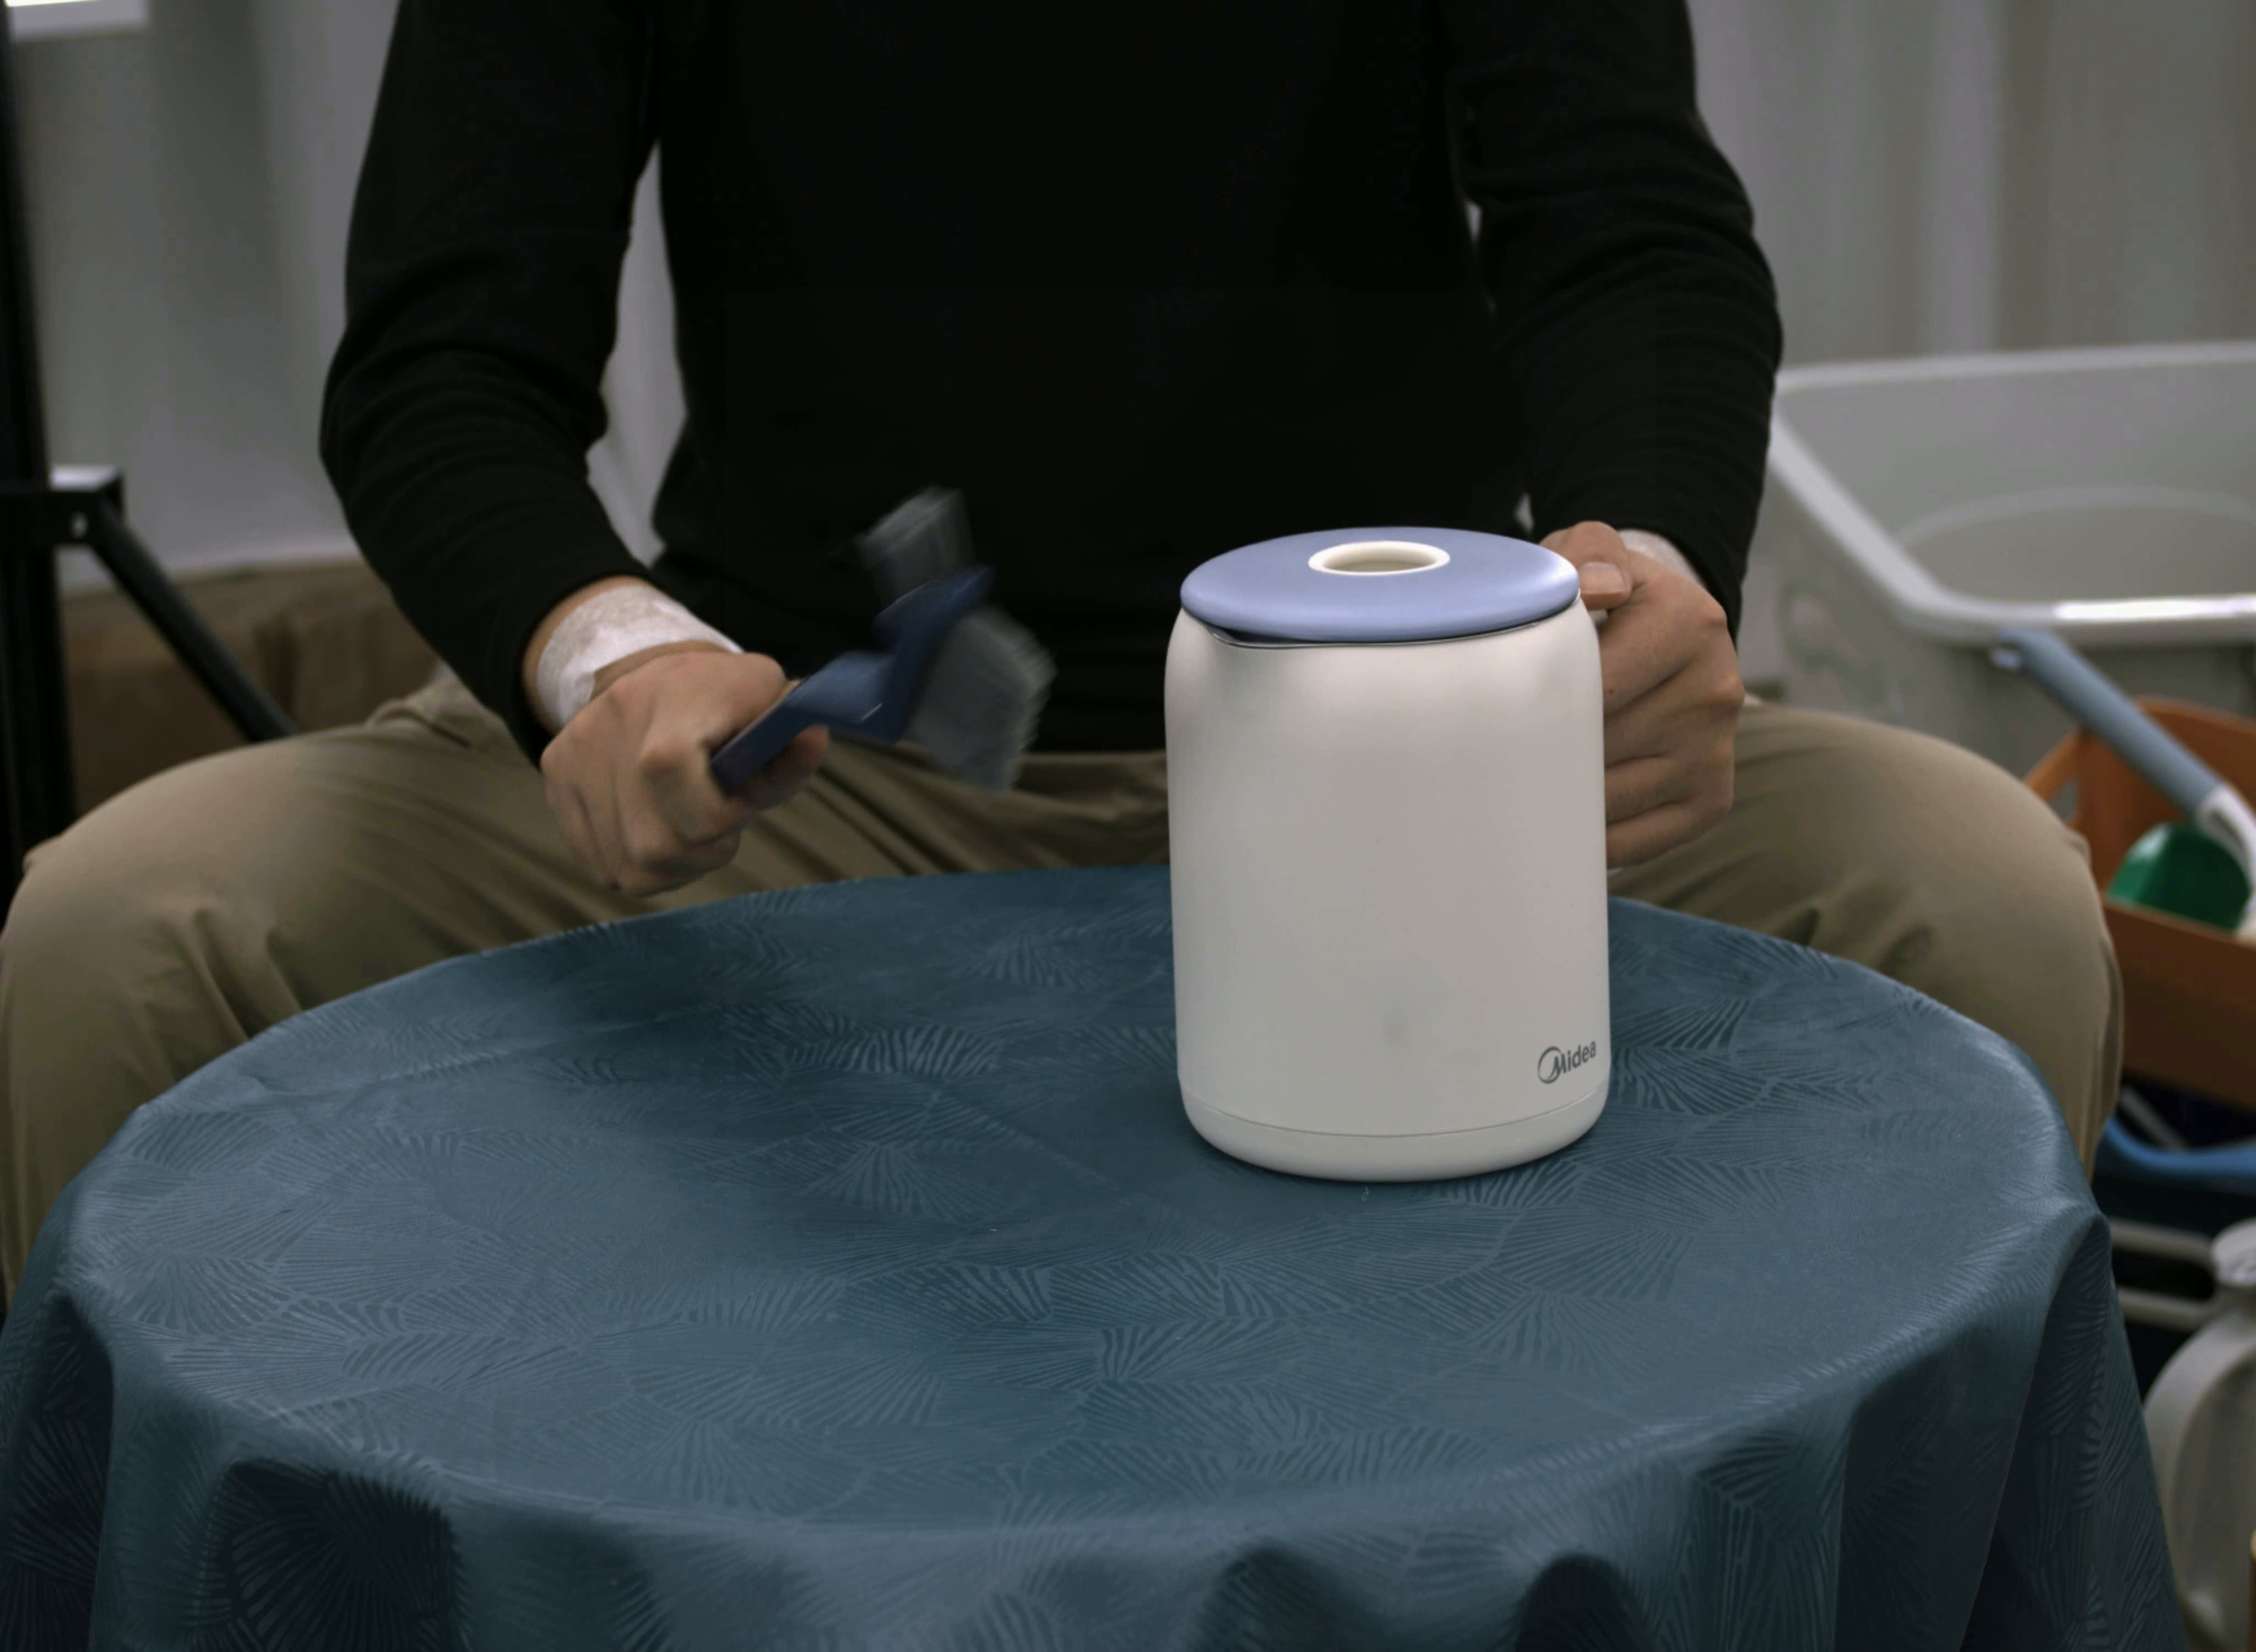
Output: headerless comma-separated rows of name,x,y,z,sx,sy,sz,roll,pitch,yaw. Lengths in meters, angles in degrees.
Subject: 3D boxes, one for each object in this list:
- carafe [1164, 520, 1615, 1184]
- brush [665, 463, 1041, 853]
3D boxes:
carafe,0.093,0.001,1.605,0.135,0.182,0.187,10,19,38
brush,-0.096,-0.045,1.620,0.033,0.095,0.277,-47,14,-26
